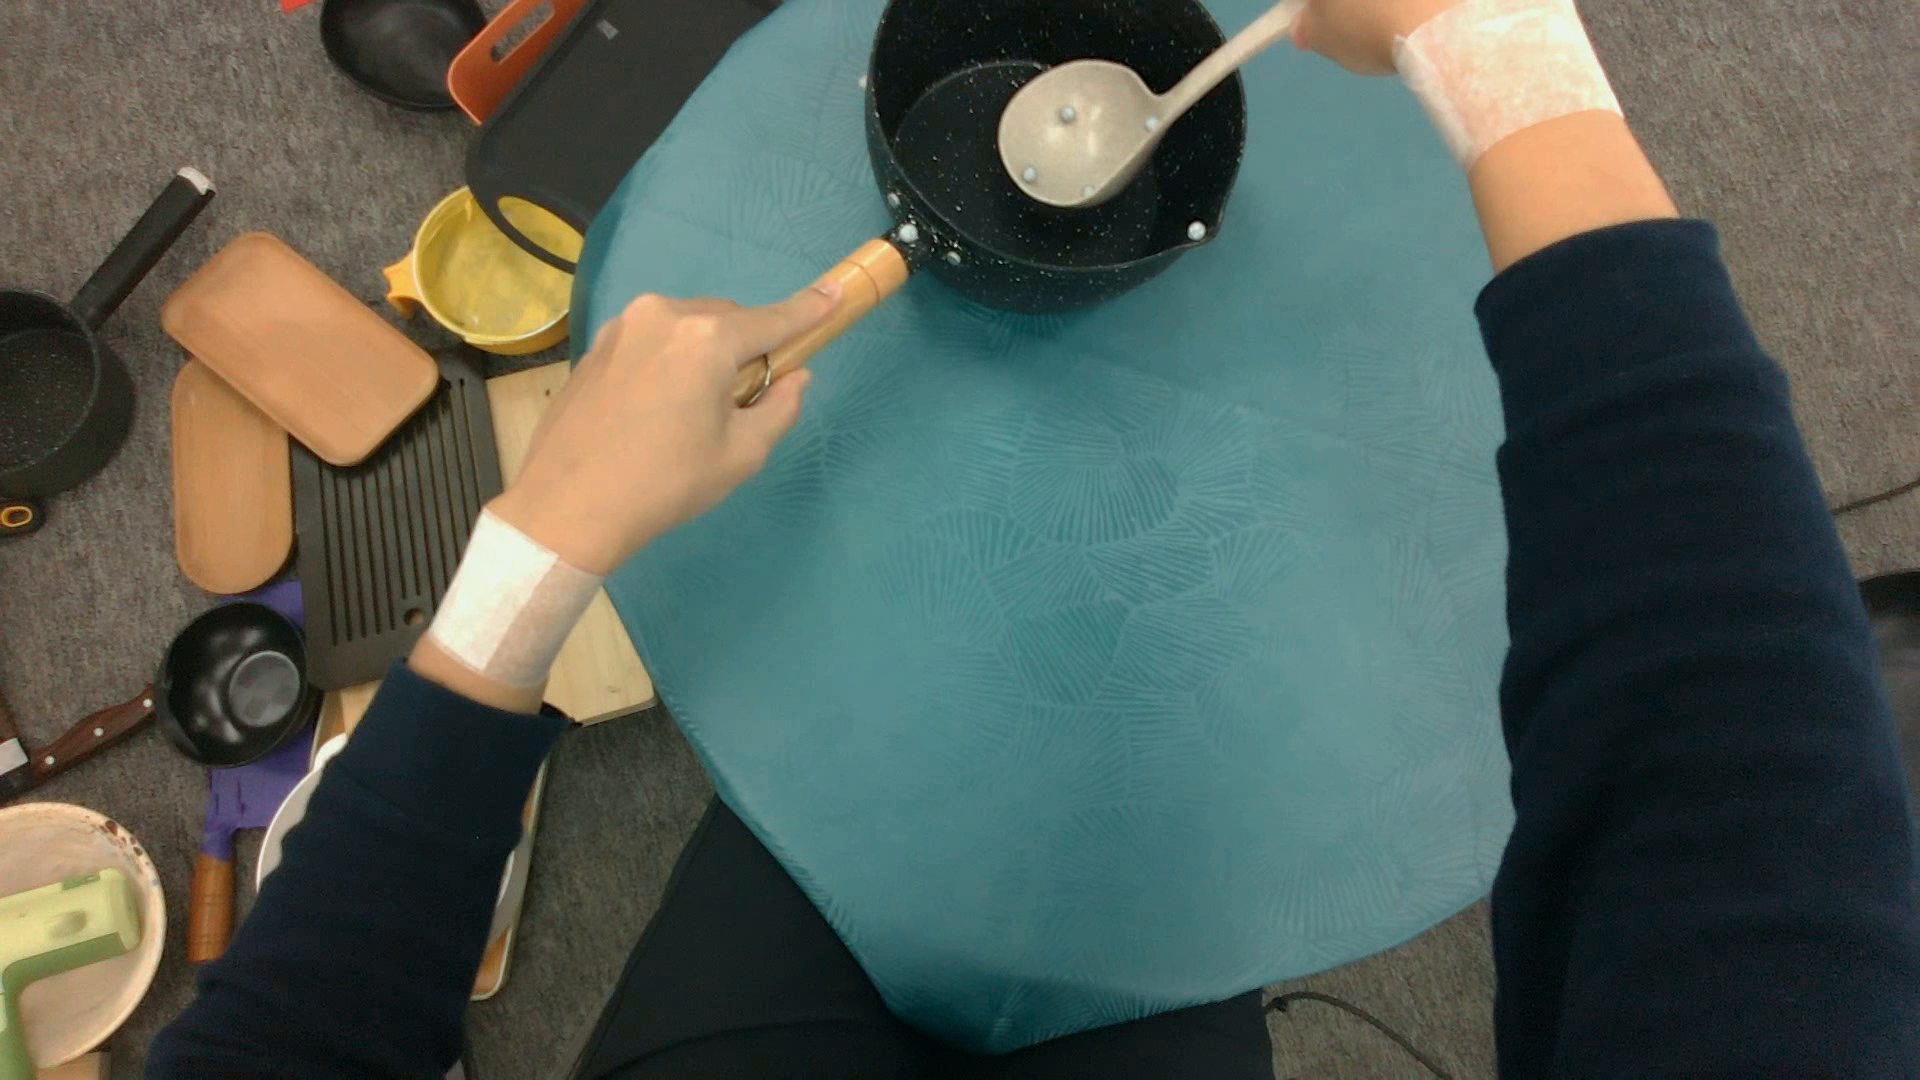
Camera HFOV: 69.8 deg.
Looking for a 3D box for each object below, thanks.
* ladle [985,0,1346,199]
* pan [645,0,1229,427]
[{"bbox_3d":[0.103,-0.229,0.618,0.069,0.274,0.089,32,69,-19],"label":"ladle"},{"bbox_3d":[-0.016,-0.154,0.658,0.207,0.108,0.344,42,70,2],"label":"pan"}]
